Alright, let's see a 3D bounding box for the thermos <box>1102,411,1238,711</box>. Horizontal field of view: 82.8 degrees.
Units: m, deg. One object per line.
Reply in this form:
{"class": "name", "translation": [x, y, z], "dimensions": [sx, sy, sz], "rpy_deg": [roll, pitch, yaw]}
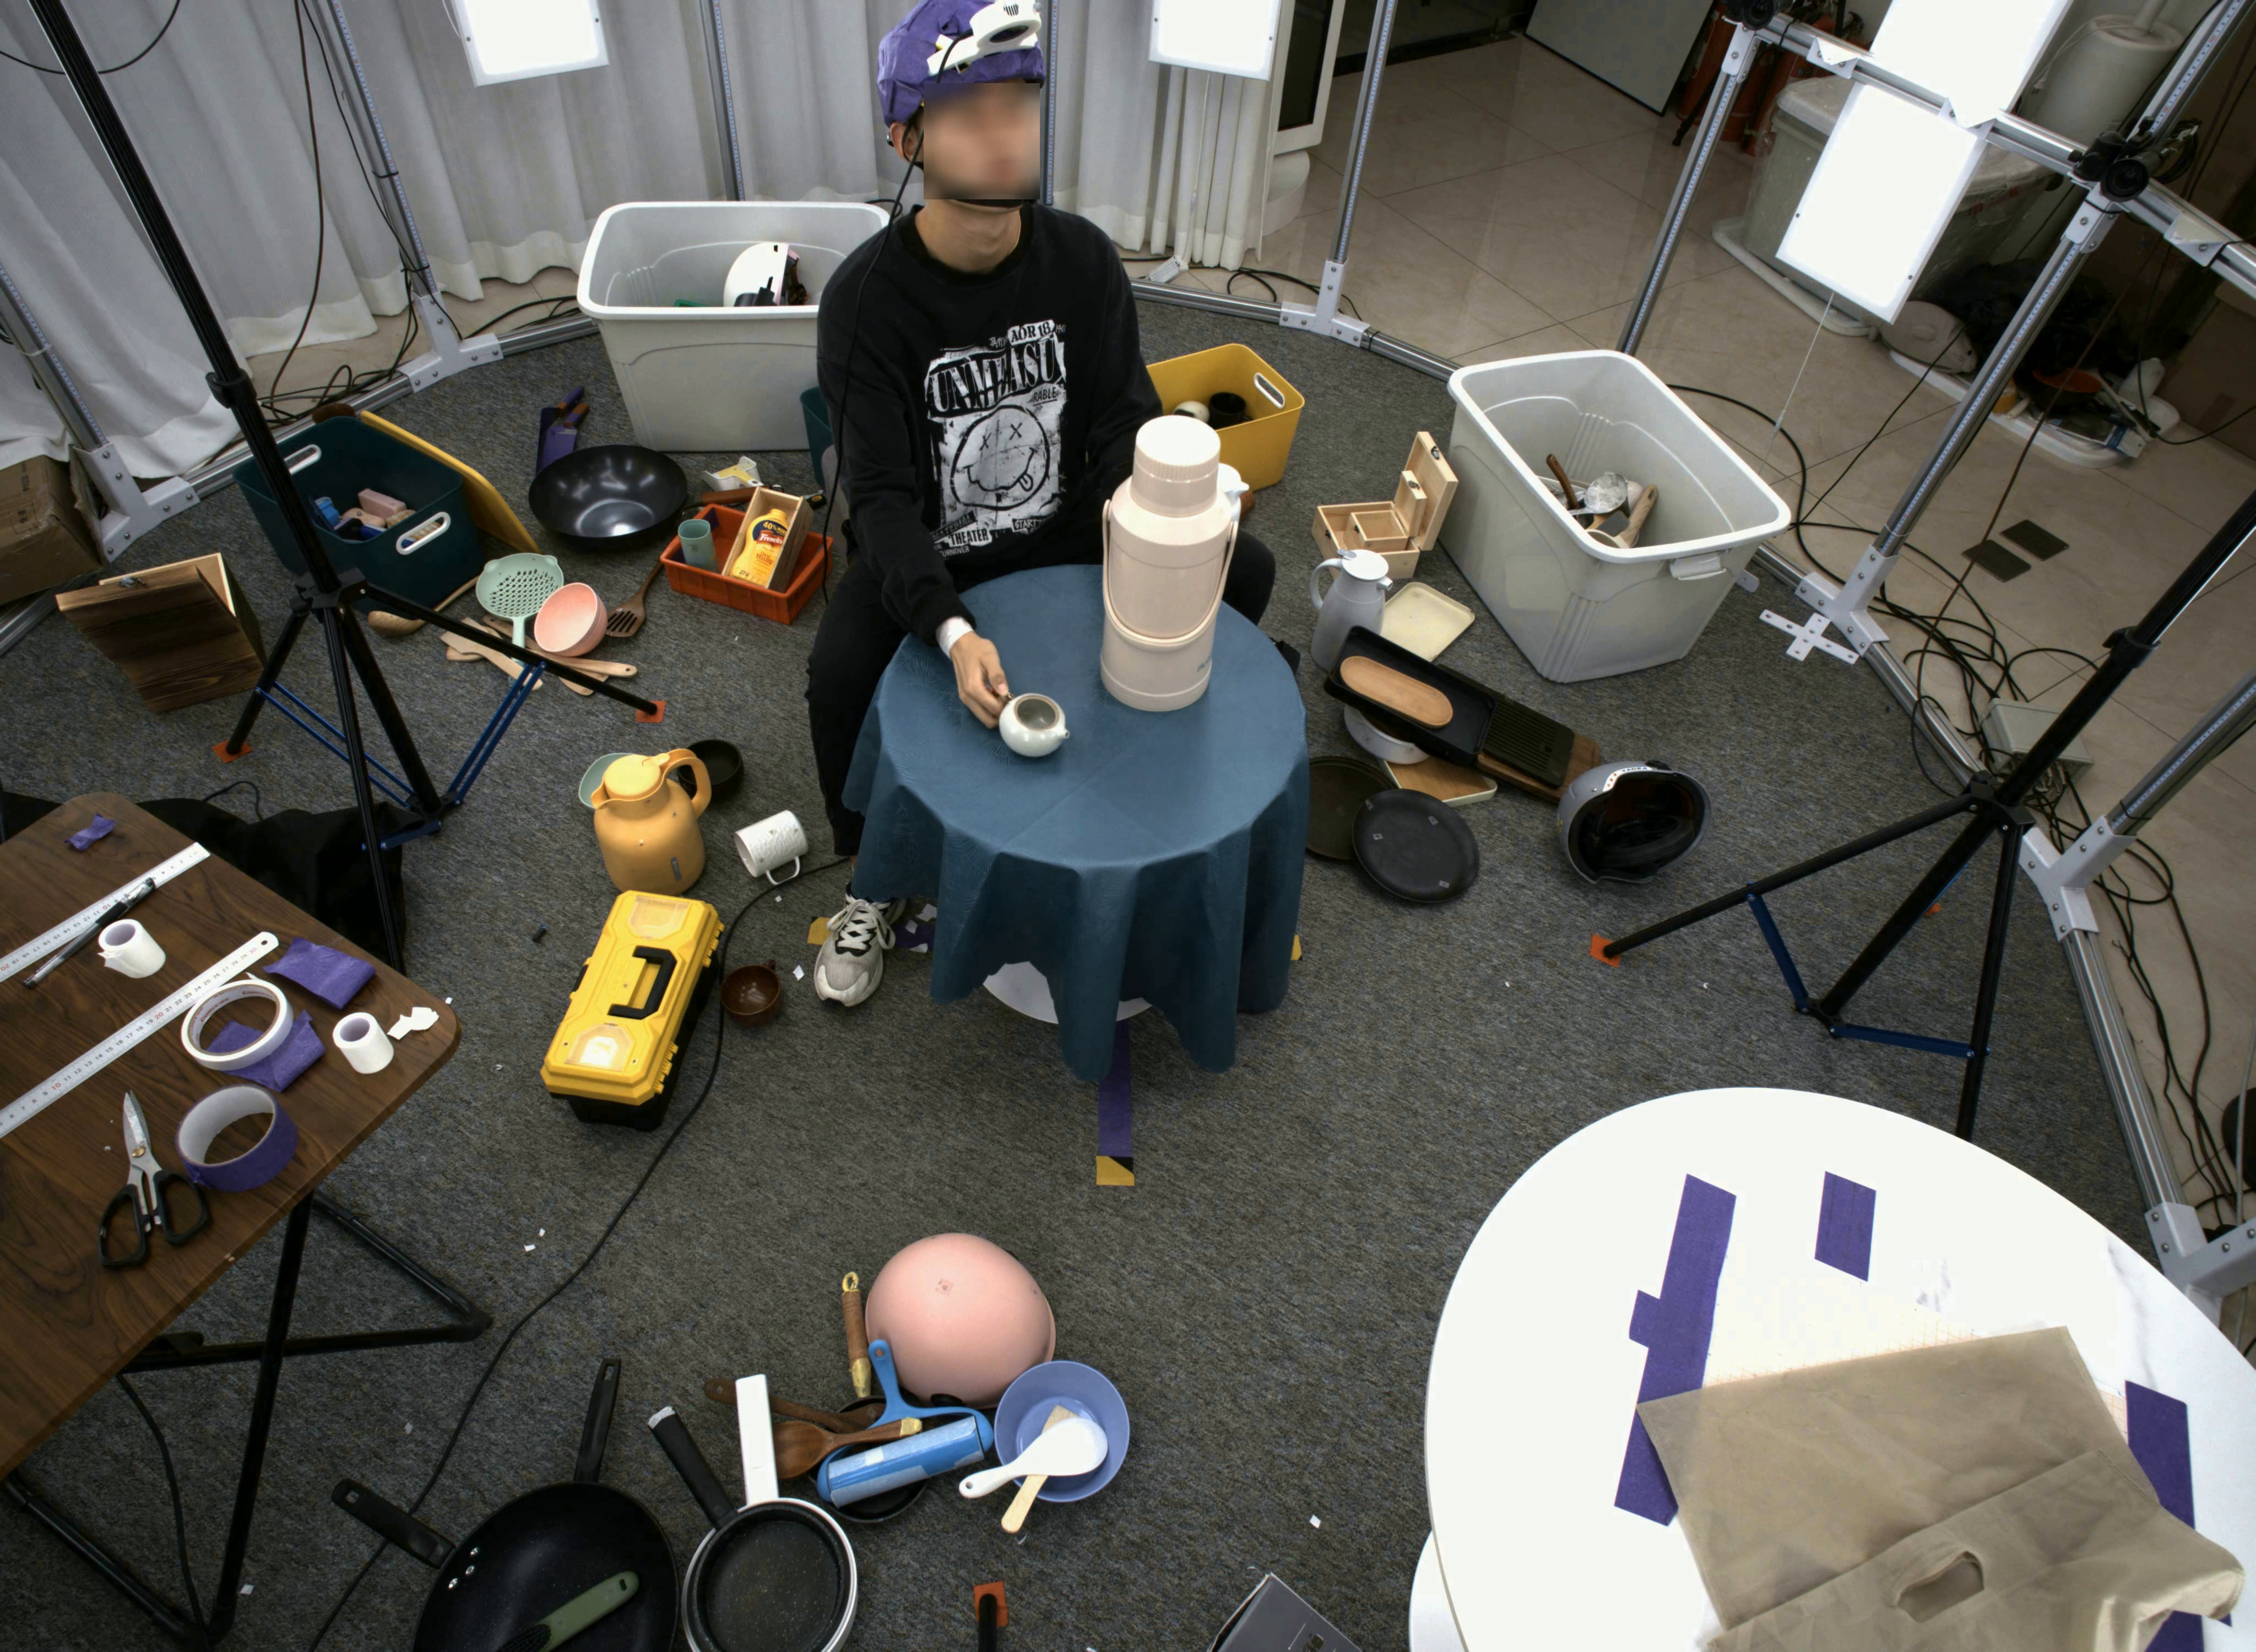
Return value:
{"class": "thermos", "translation": [0.055, -0.358, 1.728], "dimensions": [0.175, 0.396, 0.212], "rpy_deg": [9, 50, 6]}

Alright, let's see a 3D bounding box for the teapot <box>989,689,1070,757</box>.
{"class": "teapot", "translation": [-0.136, -0.141, 1.738], "dimensions": [0.129, 0.058, 0.093], "rpy_deg": [33, 57, 9]}
